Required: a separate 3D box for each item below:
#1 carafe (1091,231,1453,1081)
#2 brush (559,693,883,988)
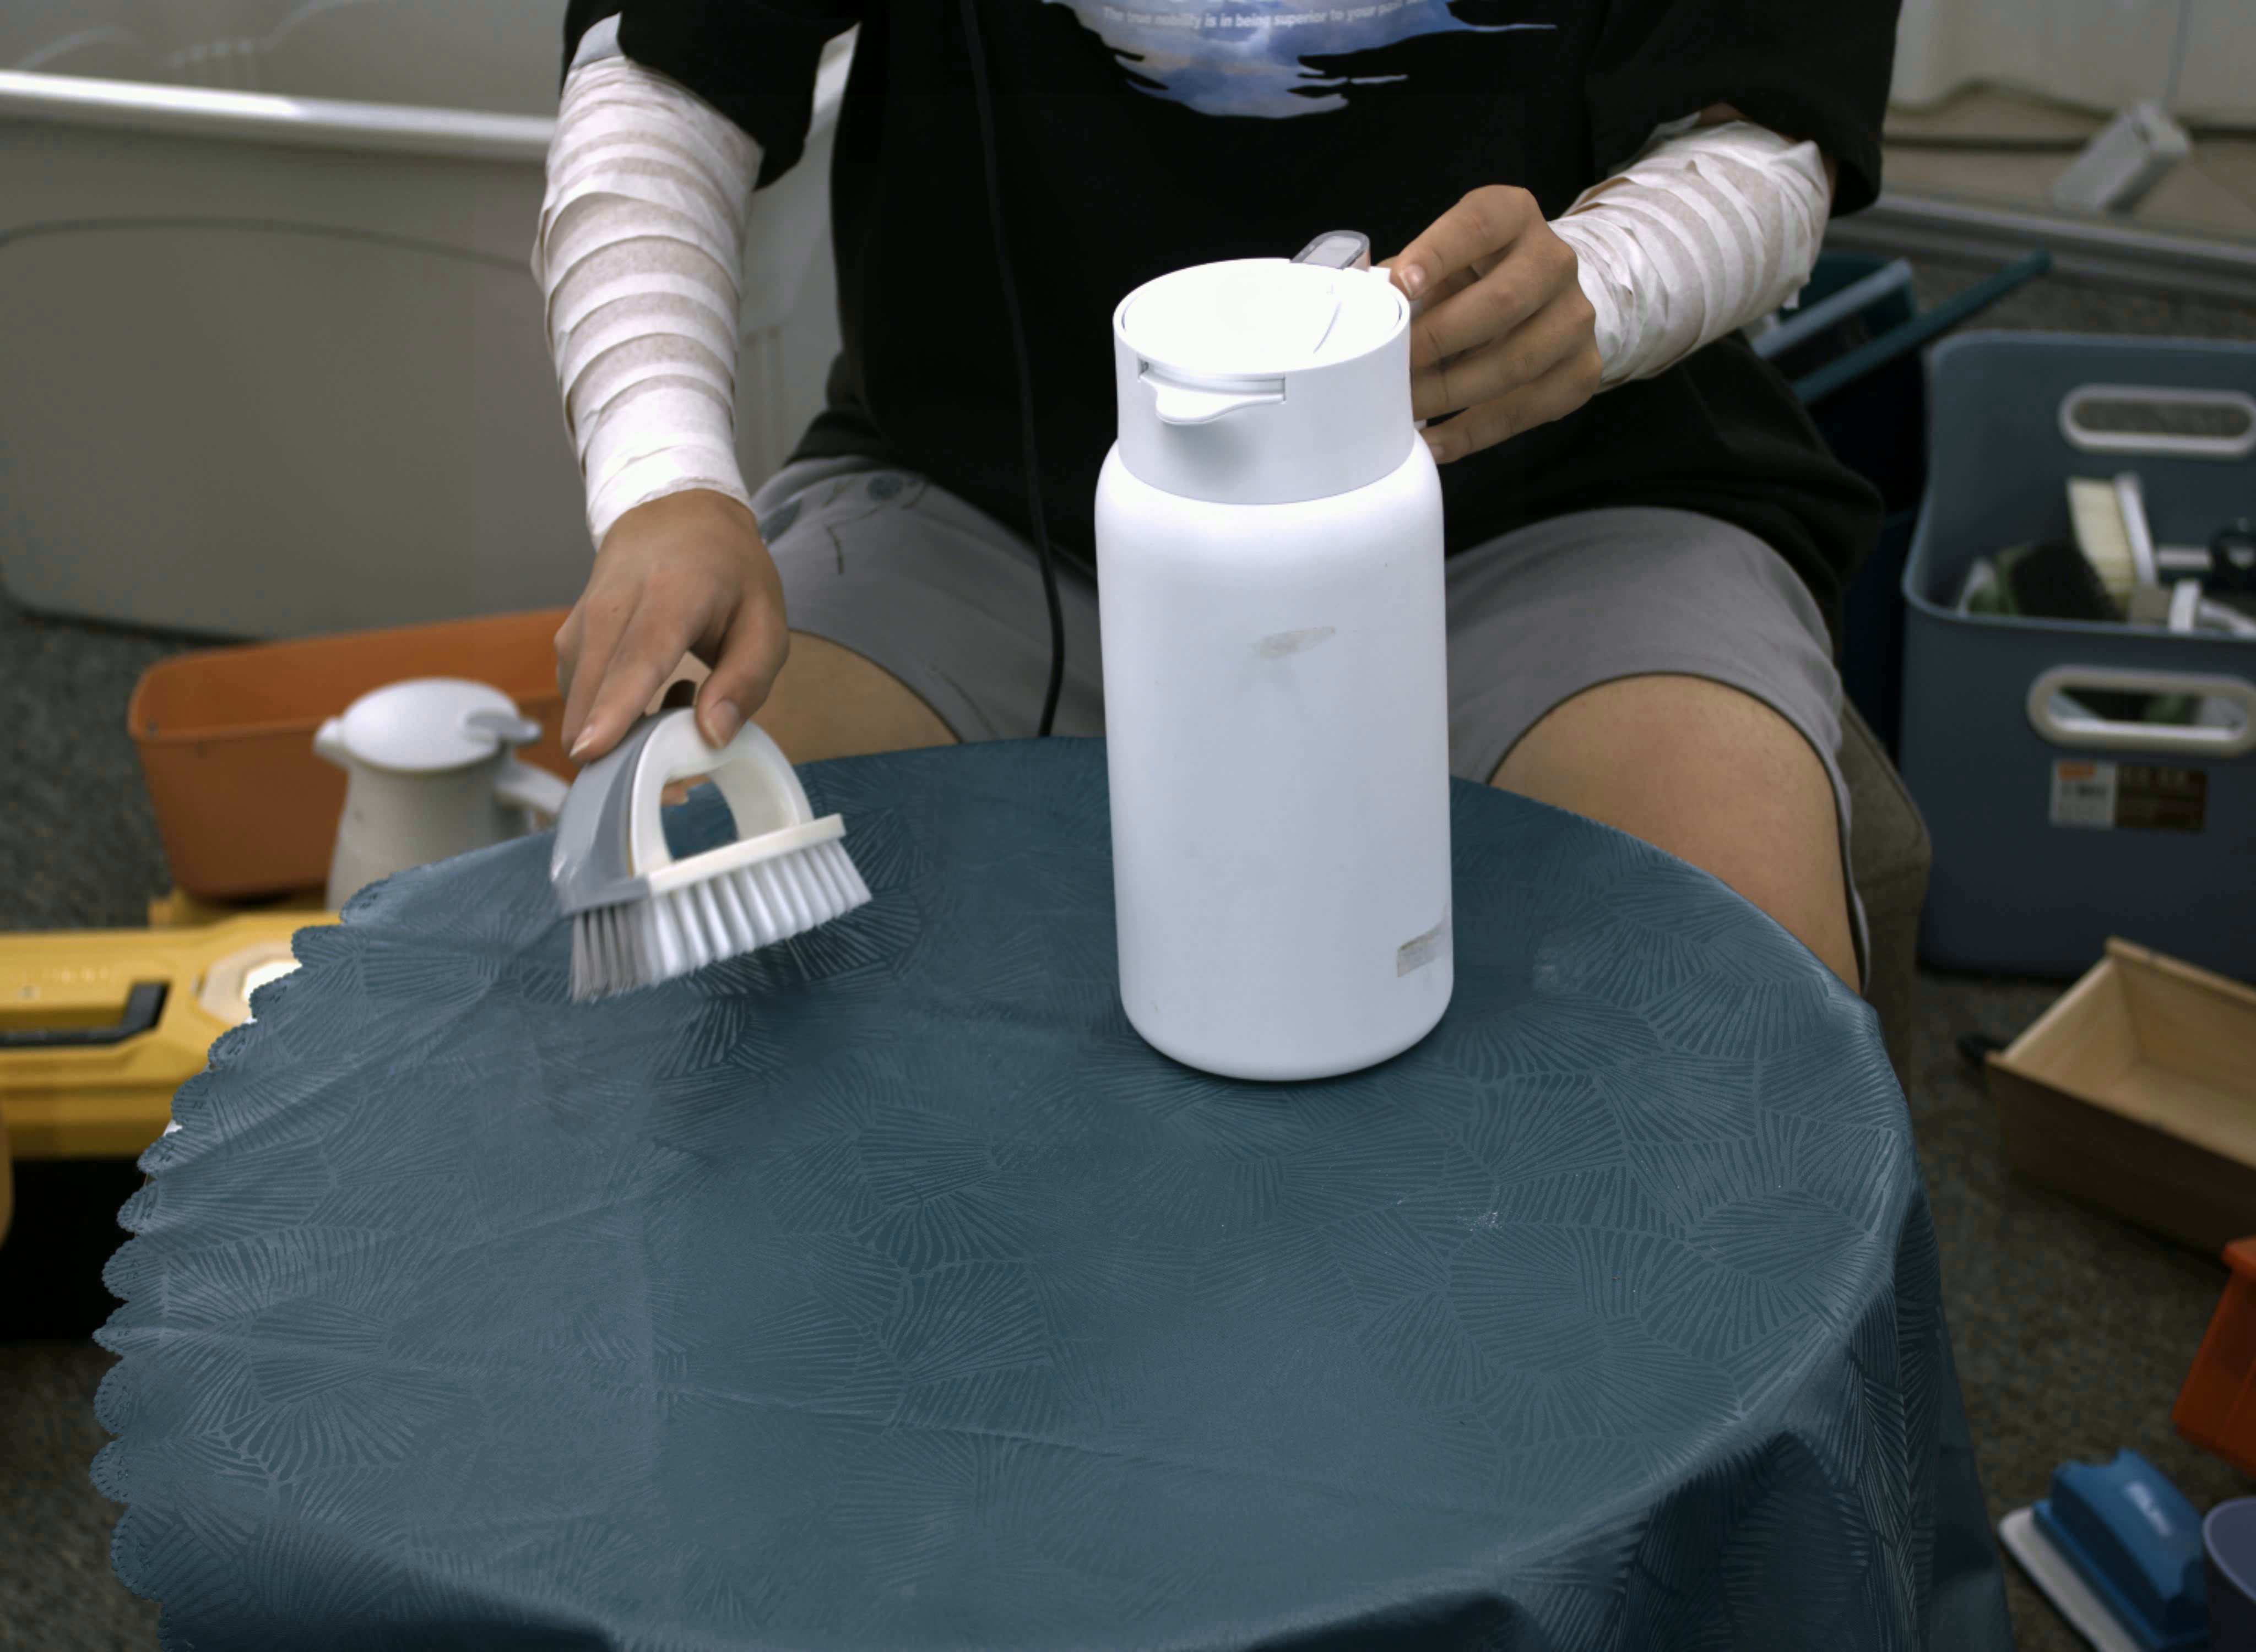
[{"bbox_3d":[0.055,-0.062,1.924,0.123,0.266,0.176,6,27,23],"label":"carafe"},{"bbox_3d":[-0.153,0.002,1.942,0.061,0.094,0.177,-23,-1,23],"label":"brush"}]
